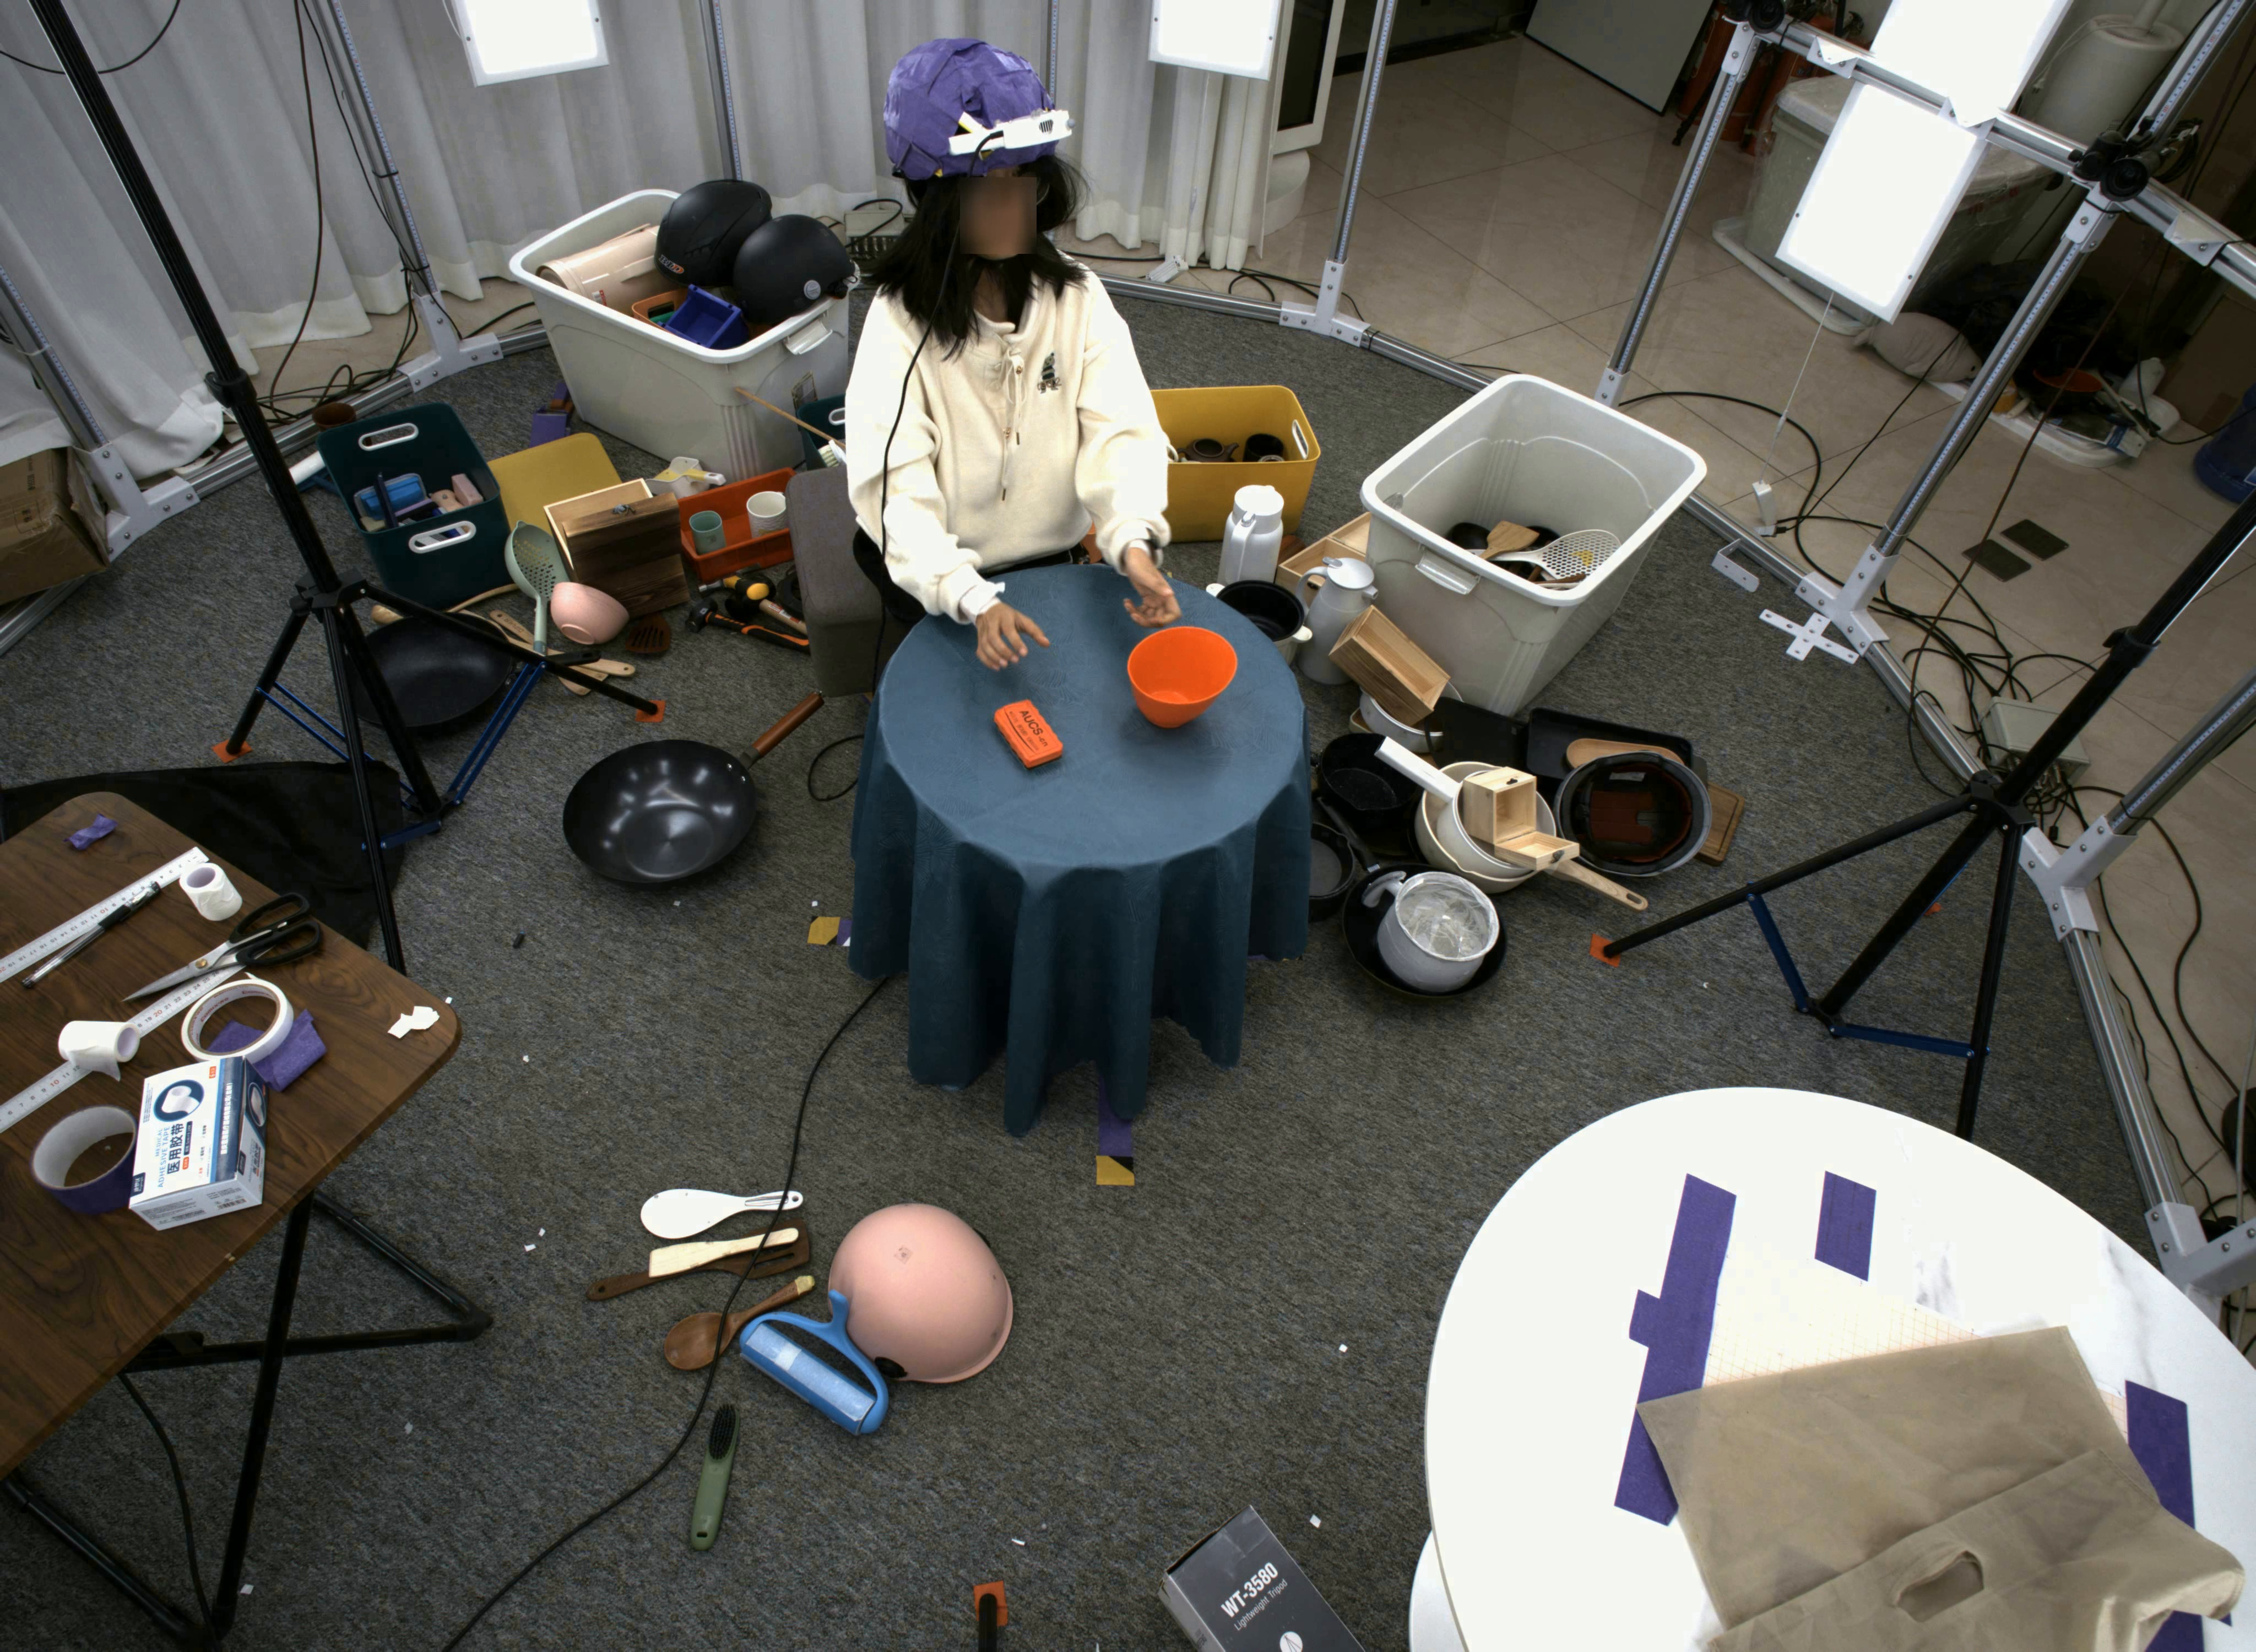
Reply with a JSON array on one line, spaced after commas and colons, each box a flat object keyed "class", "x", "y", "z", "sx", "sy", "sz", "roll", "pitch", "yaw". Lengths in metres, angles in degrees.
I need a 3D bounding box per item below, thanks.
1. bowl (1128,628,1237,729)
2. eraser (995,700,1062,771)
[{"class": "bowl", "x": 0.070, "y": -0.193, "z": 1.776, "sx": 0.148, "sy": 0.102, "sz": 0.152, "roll": 4, "pitch": 50, "yaw": -5}, {"class": "eraser", "x": -0.136, "y": -0.125, "z": 1.754, "sx": 0.059, "sy": 0.022, "sz": 0.110, "roll": -22, "pitch": 54, "yaw": -19}]
